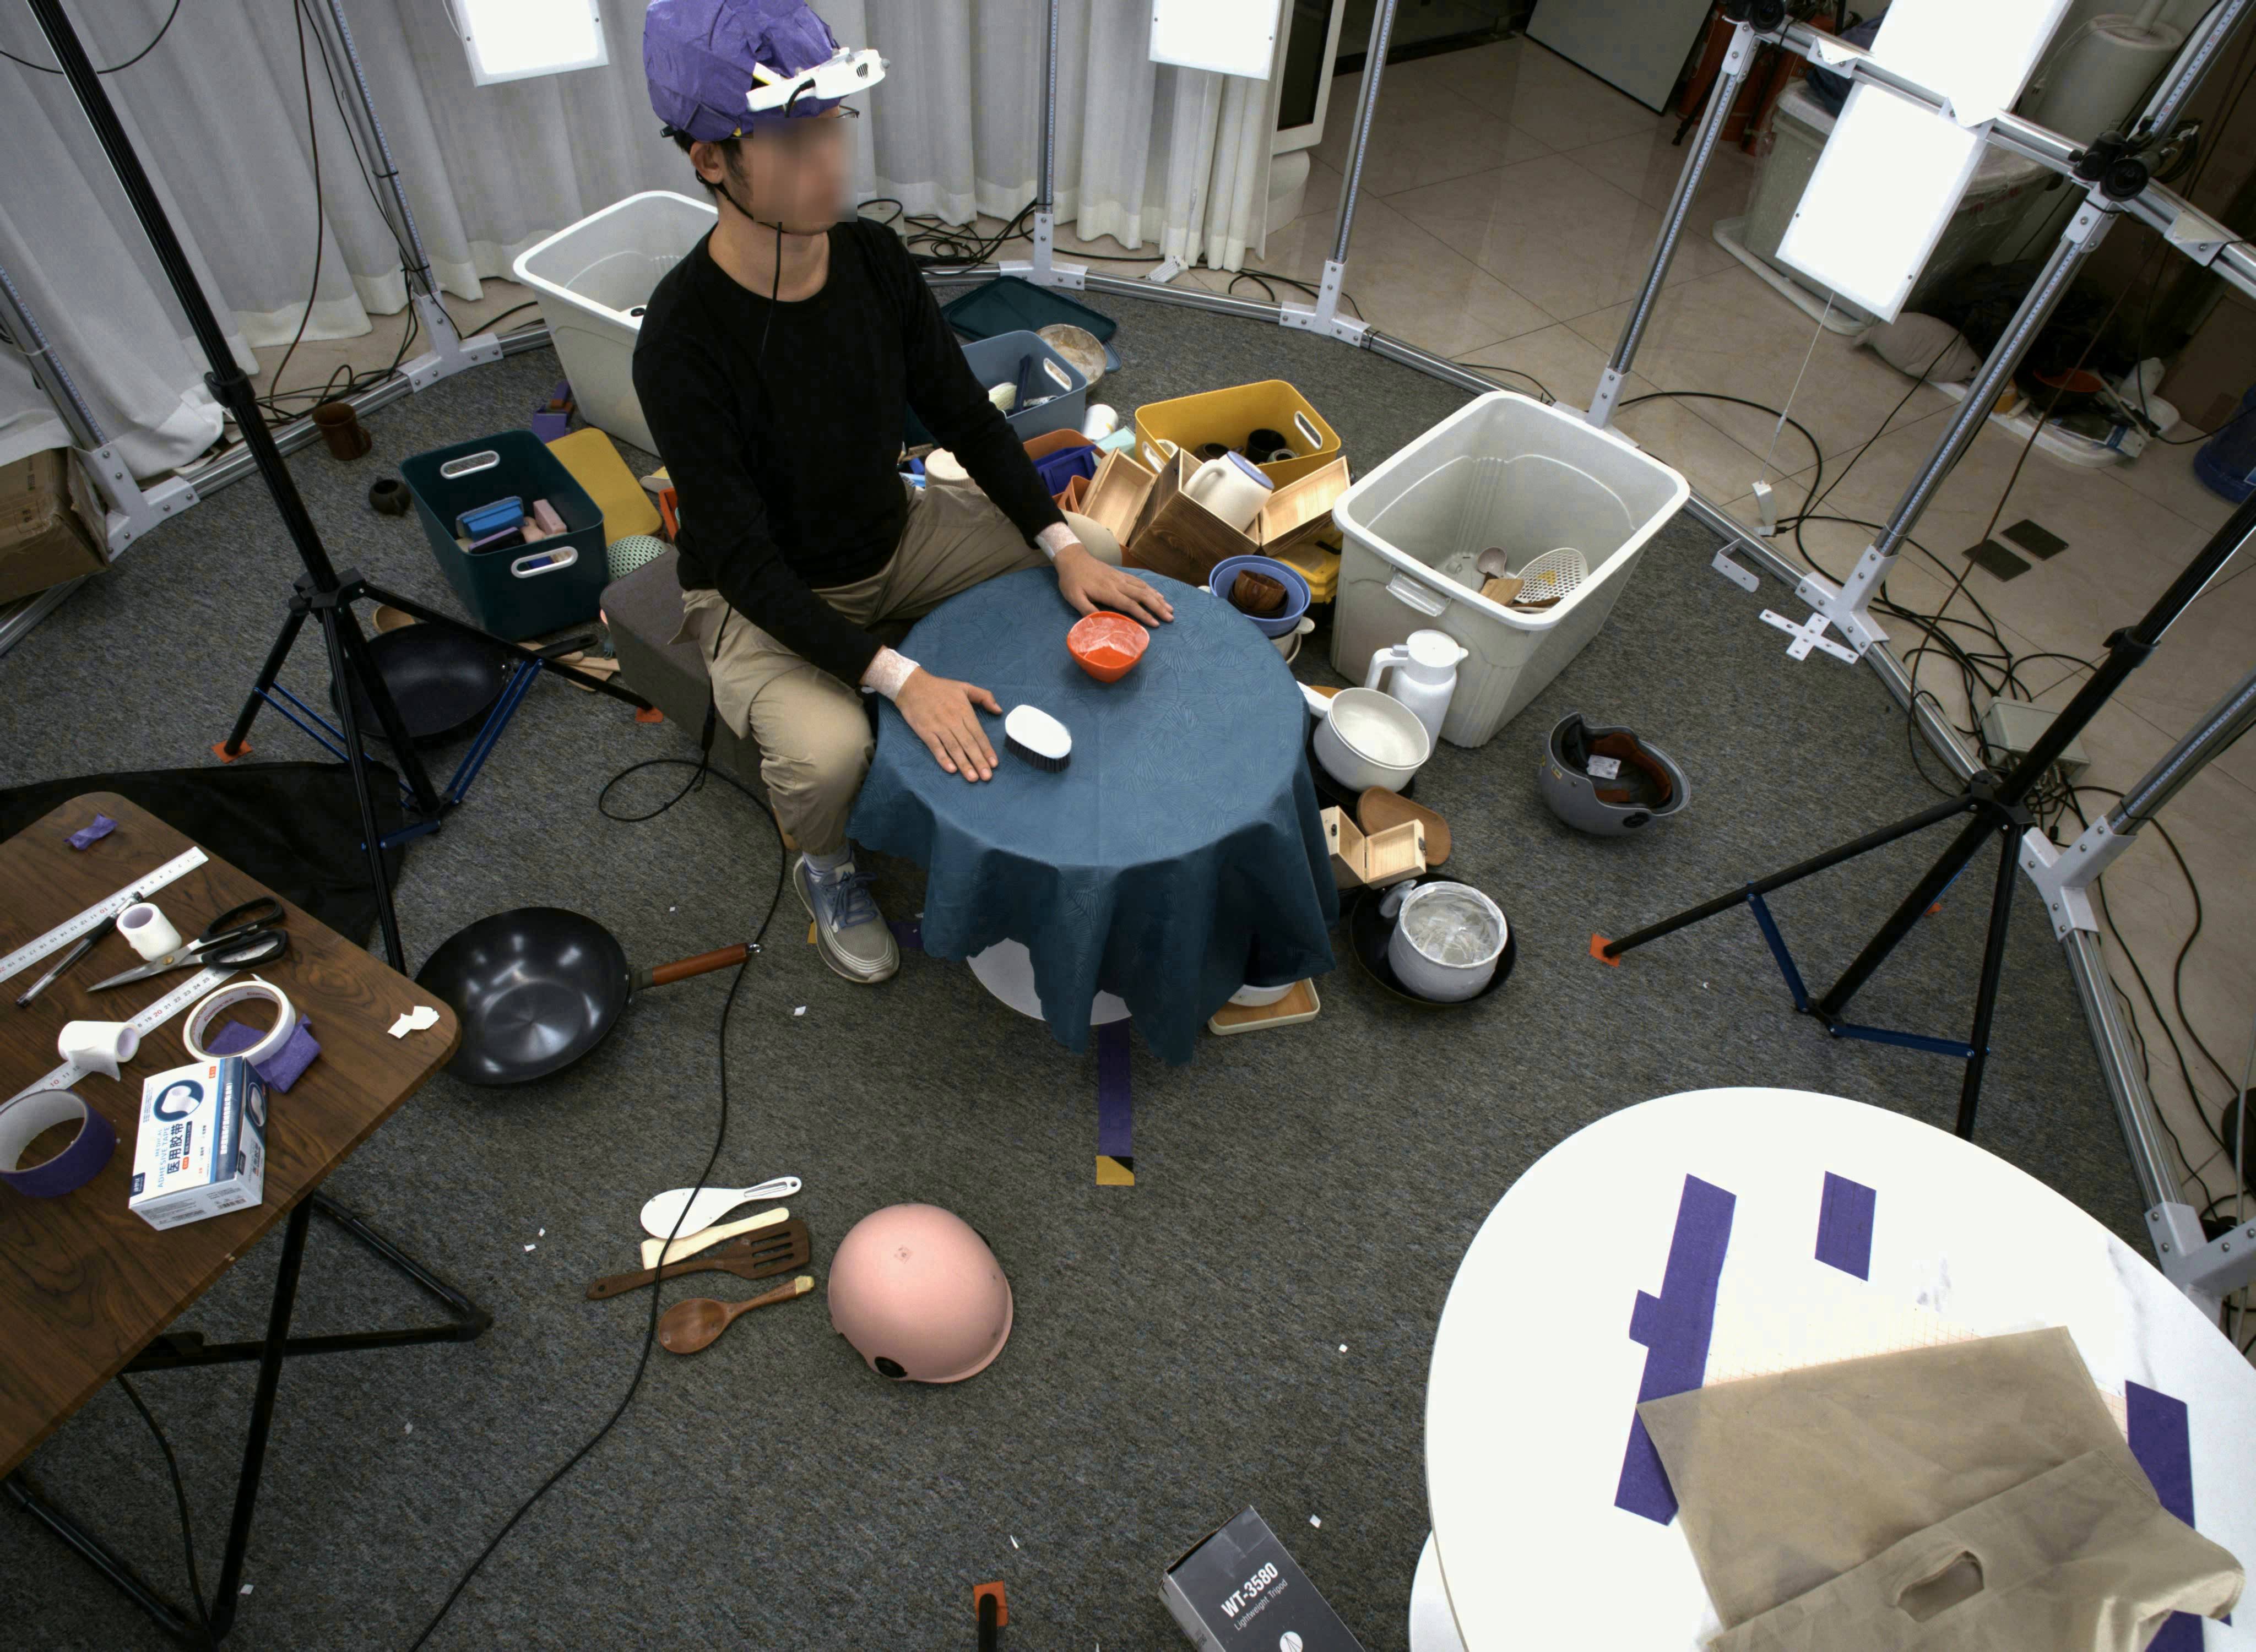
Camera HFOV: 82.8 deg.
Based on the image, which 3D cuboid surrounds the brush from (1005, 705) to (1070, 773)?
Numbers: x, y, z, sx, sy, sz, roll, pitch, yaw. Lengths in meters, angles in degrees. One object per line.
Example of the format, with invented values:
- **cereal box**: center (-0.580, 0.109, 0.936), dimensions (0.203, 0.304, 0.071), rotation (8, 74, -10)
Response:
- **brush**: center (-0.122, -0.125, 1.722), dimensions (0.100, 0.071, 0.051), rotation (31, 54, 21)

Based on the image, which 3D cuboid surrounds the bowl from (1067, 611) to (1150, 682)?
- **bowl**: center (-0.029, -0.253, 1.853), dimensions (0.119, 0.050, 0.122), rotation (2, 51, -3)
